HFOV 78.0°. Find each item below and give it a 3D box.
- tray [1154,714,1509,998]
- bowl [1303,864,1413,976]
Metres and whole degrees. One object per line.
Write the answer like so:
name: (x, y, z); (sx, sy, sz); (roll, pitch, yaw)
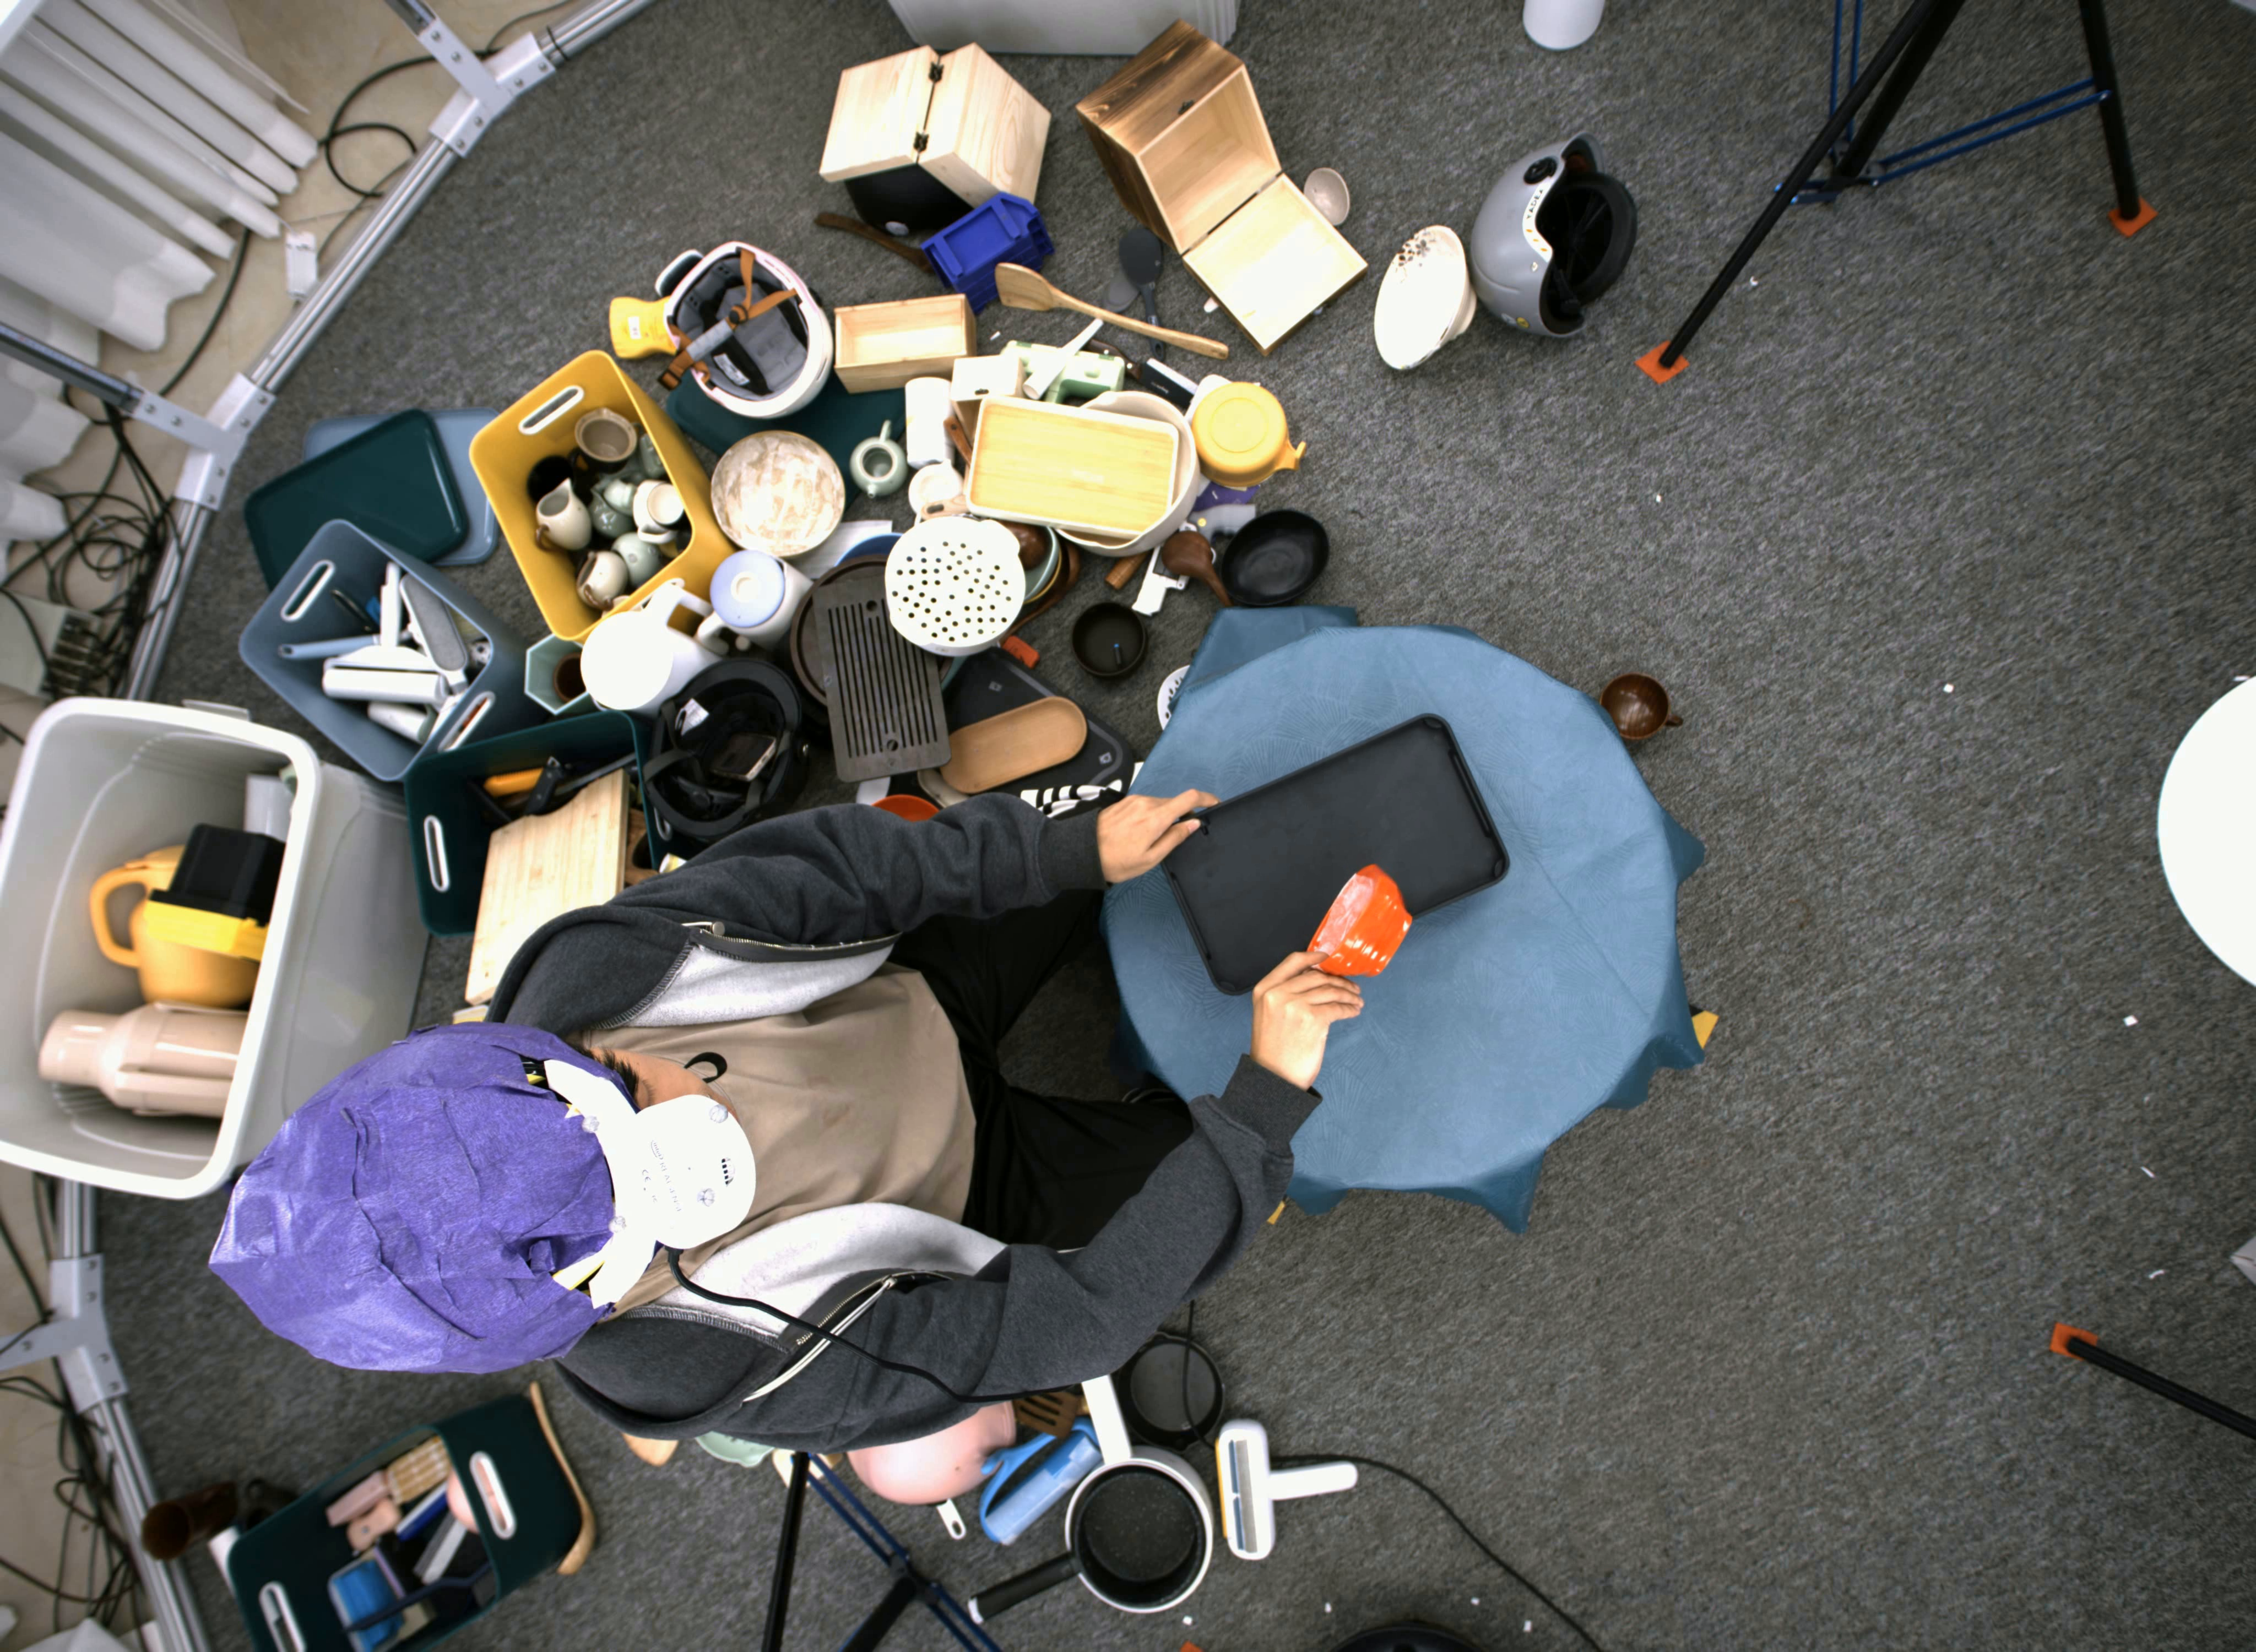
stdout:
tray: (0.201, 0.030, 1.378); (0.319, 0.037, 0.184); (-24, 88, 4)
bowl: (0.211, 0.091, 1.236); (0.051, 0.118, 0.119); (34, 91, -6)
